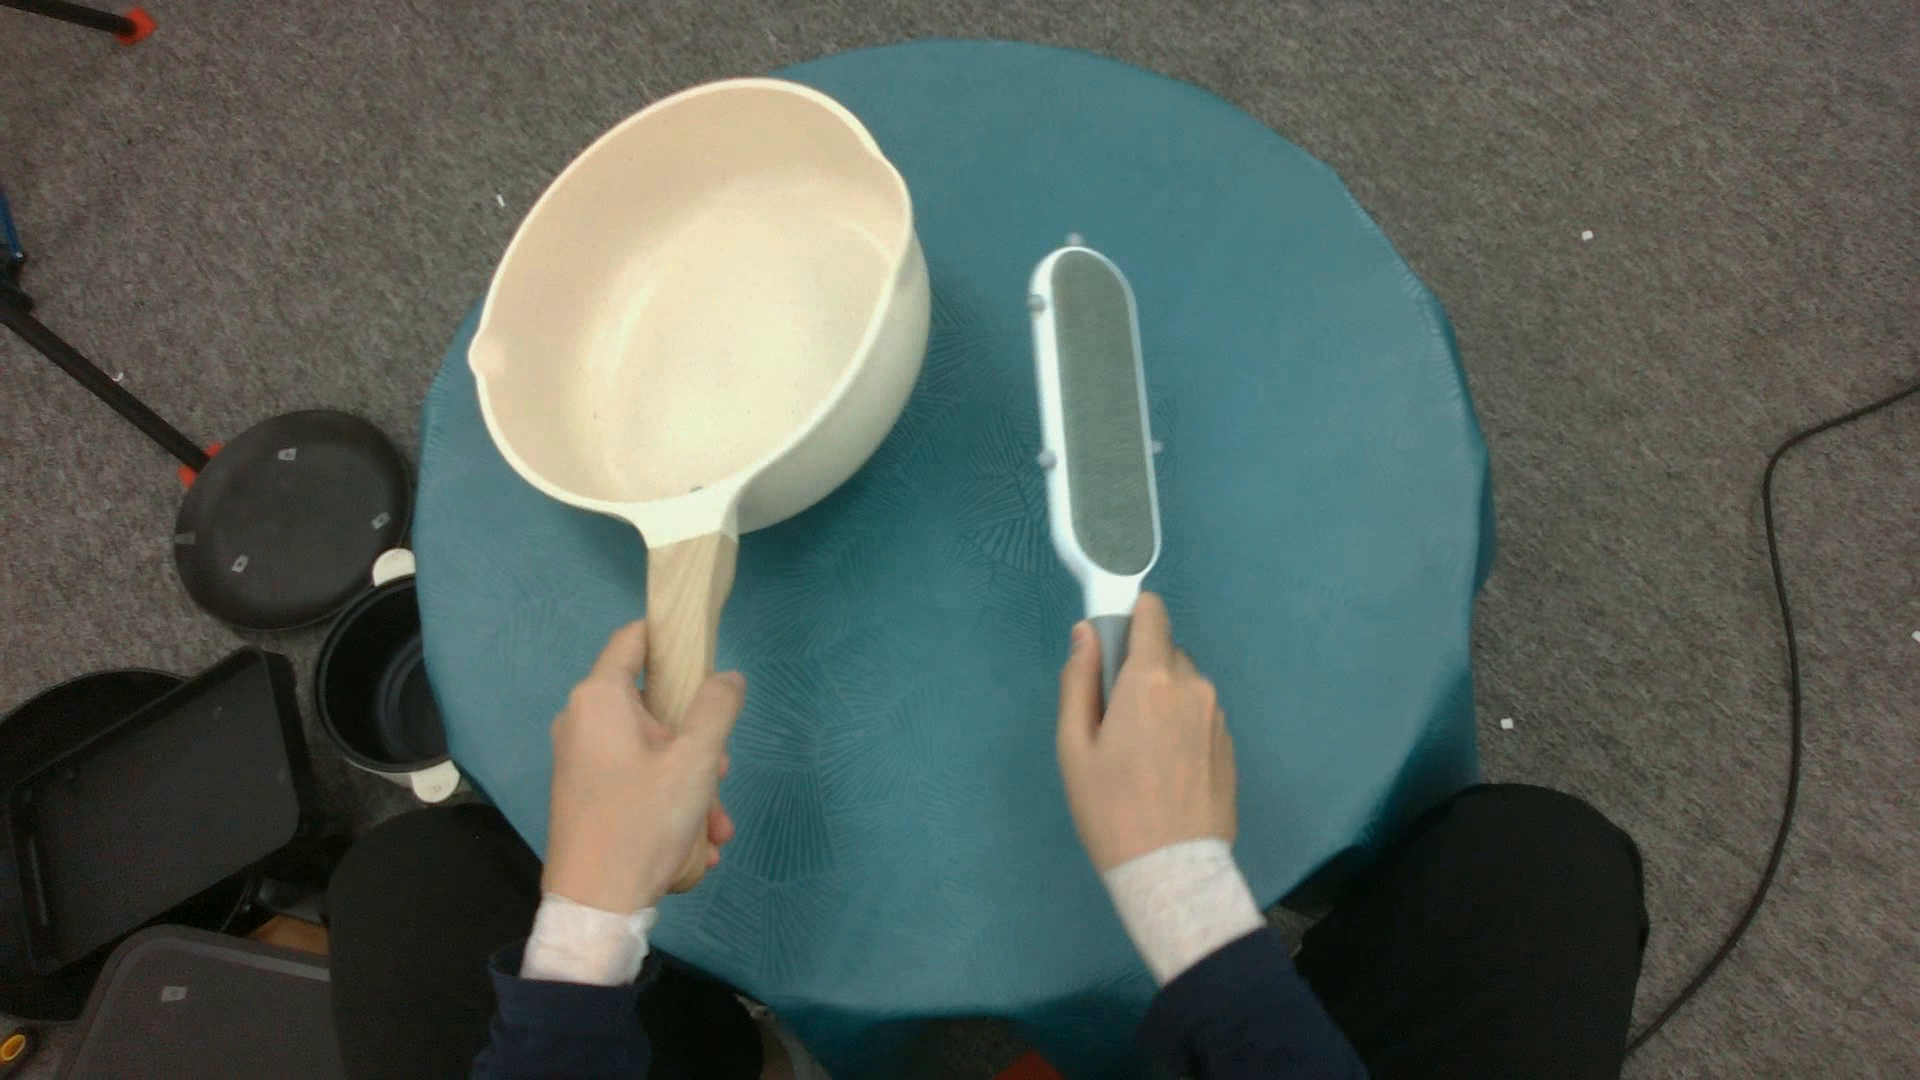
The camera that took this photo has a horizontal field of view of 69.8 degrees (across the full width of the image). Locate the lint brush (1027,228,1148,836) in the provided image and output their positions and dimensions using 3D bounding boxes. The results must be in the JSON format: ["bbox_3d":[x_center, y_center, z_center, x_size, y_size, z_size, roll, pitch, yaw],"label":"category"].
[{"bbox_3d":[0.064,-0.014,0.664,0.060,0.021,0.310,10,67,-31],"label":"lint brush"}]

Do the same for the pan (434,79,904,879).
[{"bbox_3d":[-0.138,-0.041,0.699,0.263,0.102,0.436,-12,64,12],"label":"pan"}]
